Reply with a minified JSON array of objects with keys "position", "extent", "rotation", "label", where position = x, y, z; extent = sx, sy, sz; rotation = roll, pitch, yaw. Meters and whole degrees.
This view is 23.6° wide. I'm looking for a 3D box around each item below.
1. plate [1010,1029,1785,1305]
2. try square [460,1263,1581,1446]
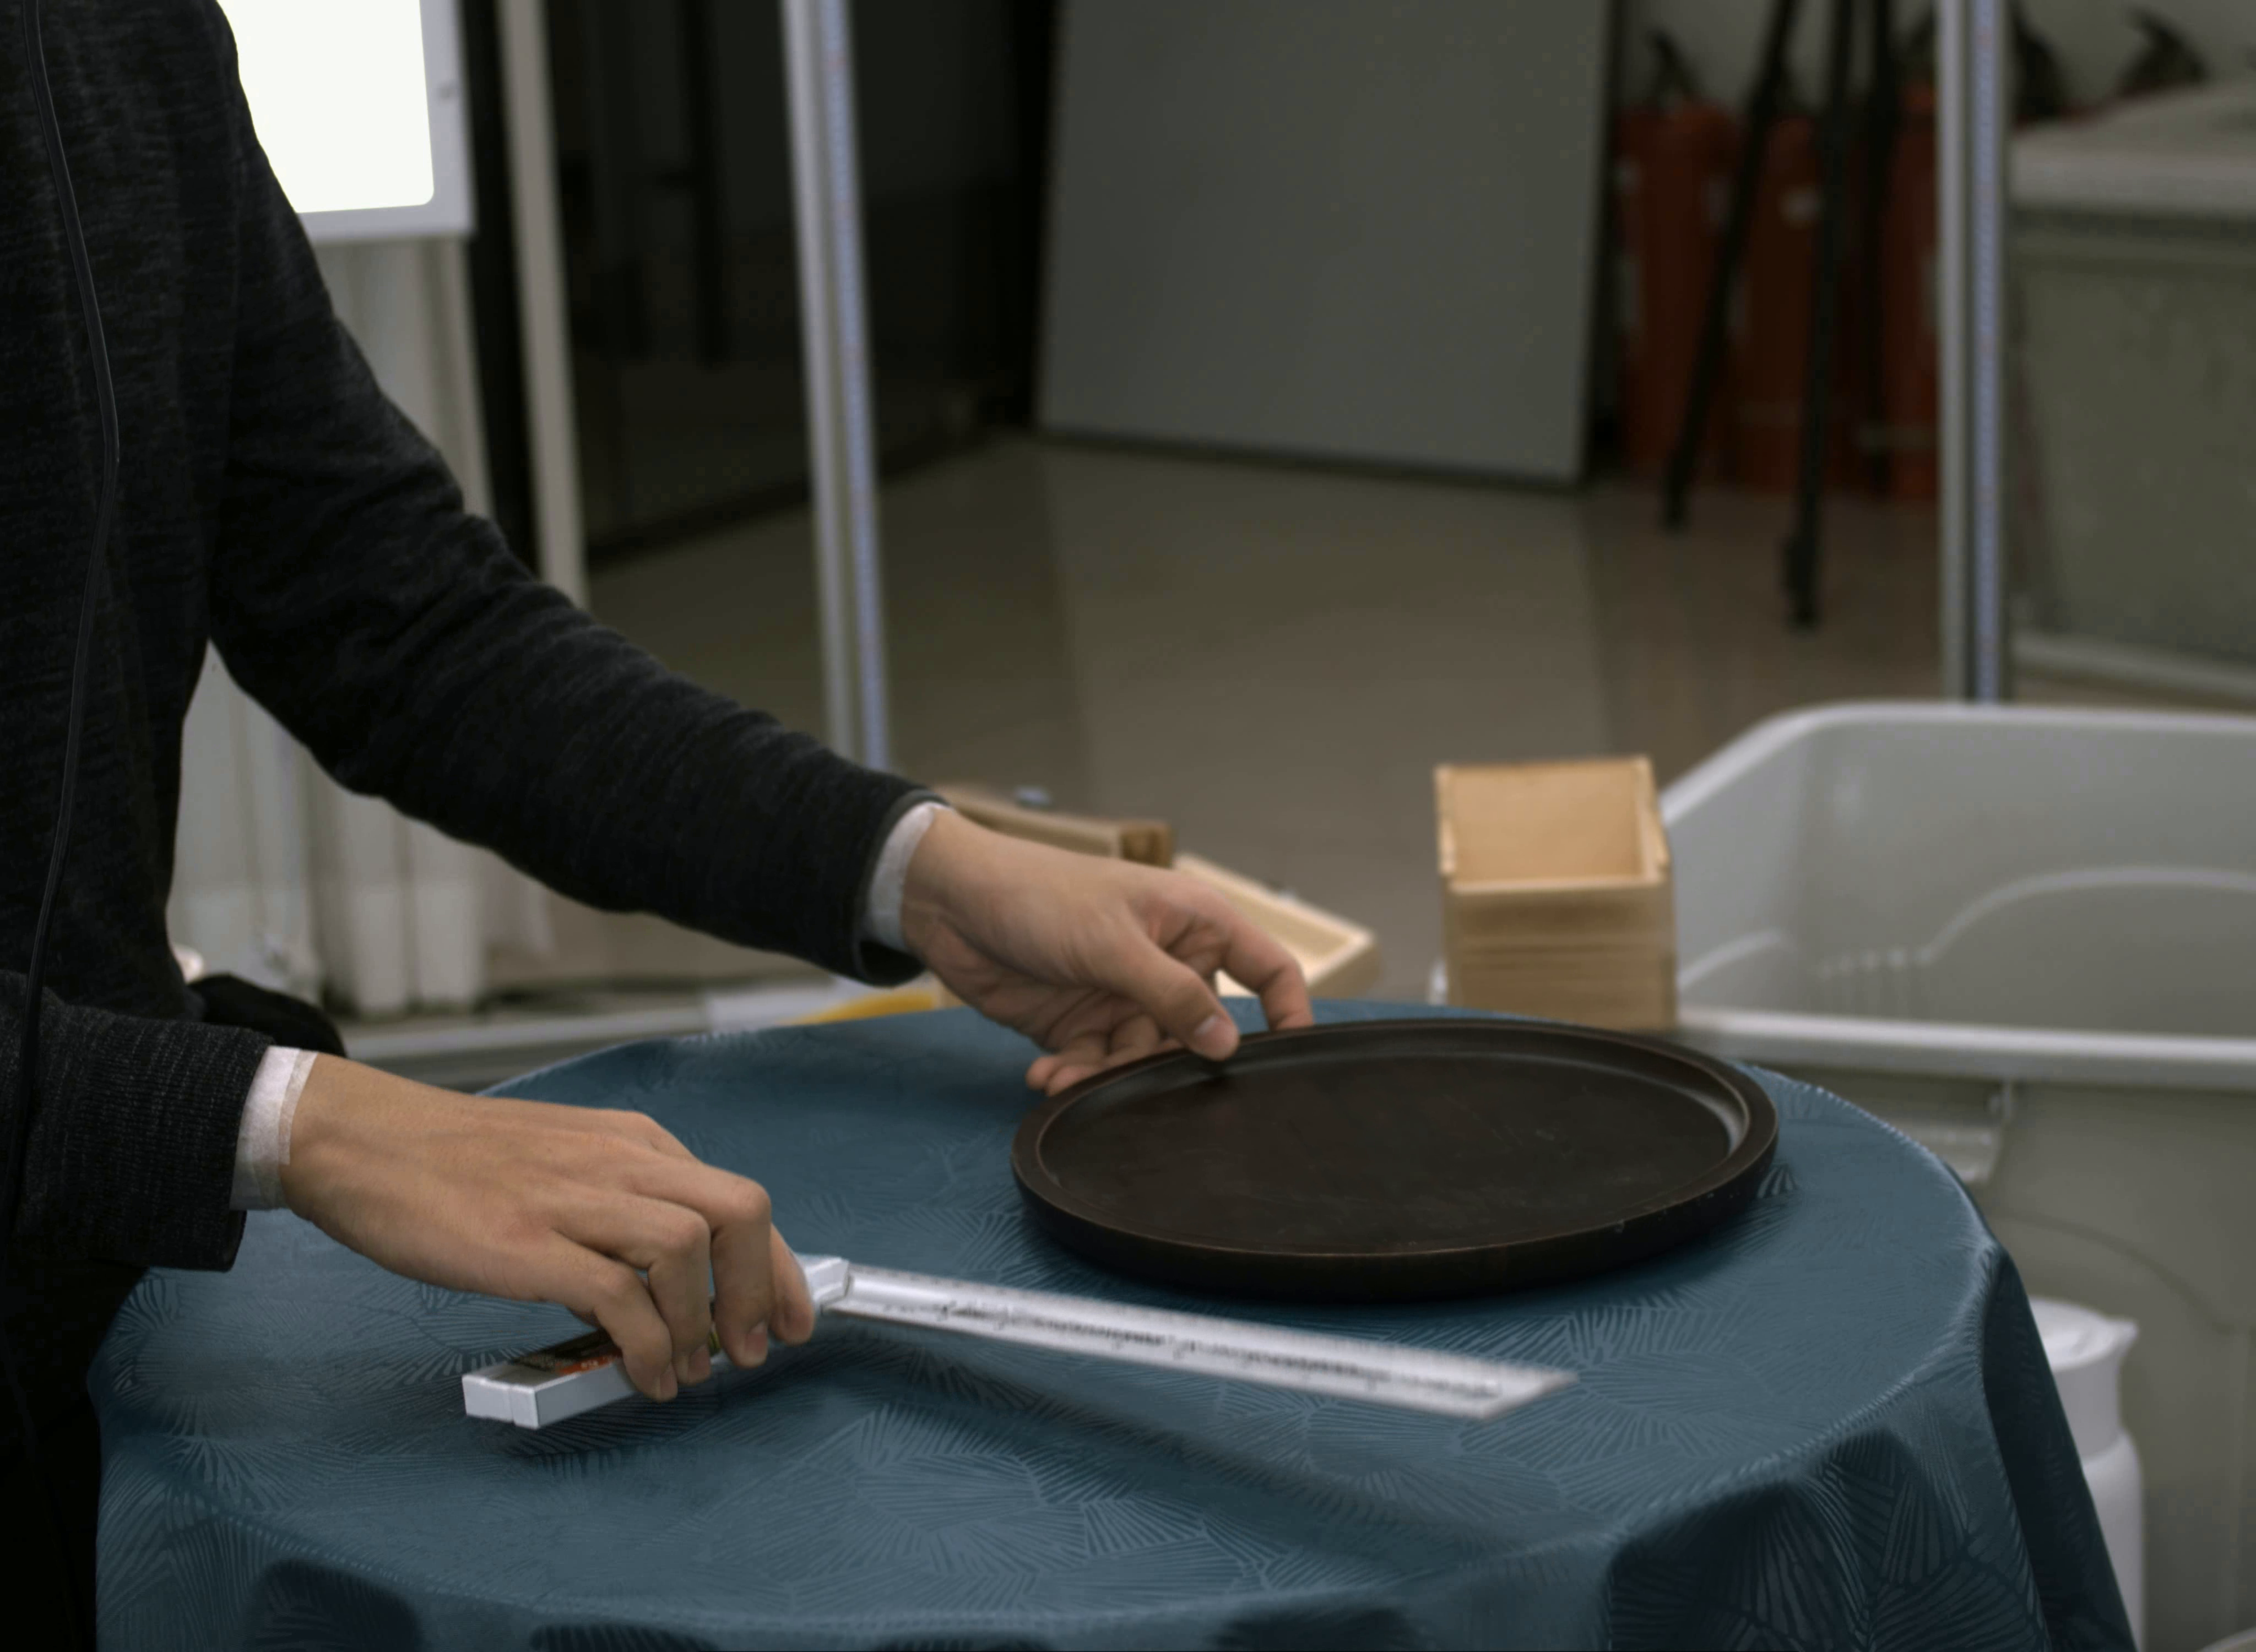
[{"position":[0.088,0.108,1.749],"extent":[0.251,0.029,0.255],"rotation":[-3,14,0],"label":"plate"},{"position":[-0.036,0.159,1.505],"extent":[0.149,0.016,0.316],"rotation":[-17,13,-40],"label":"try square"}]
